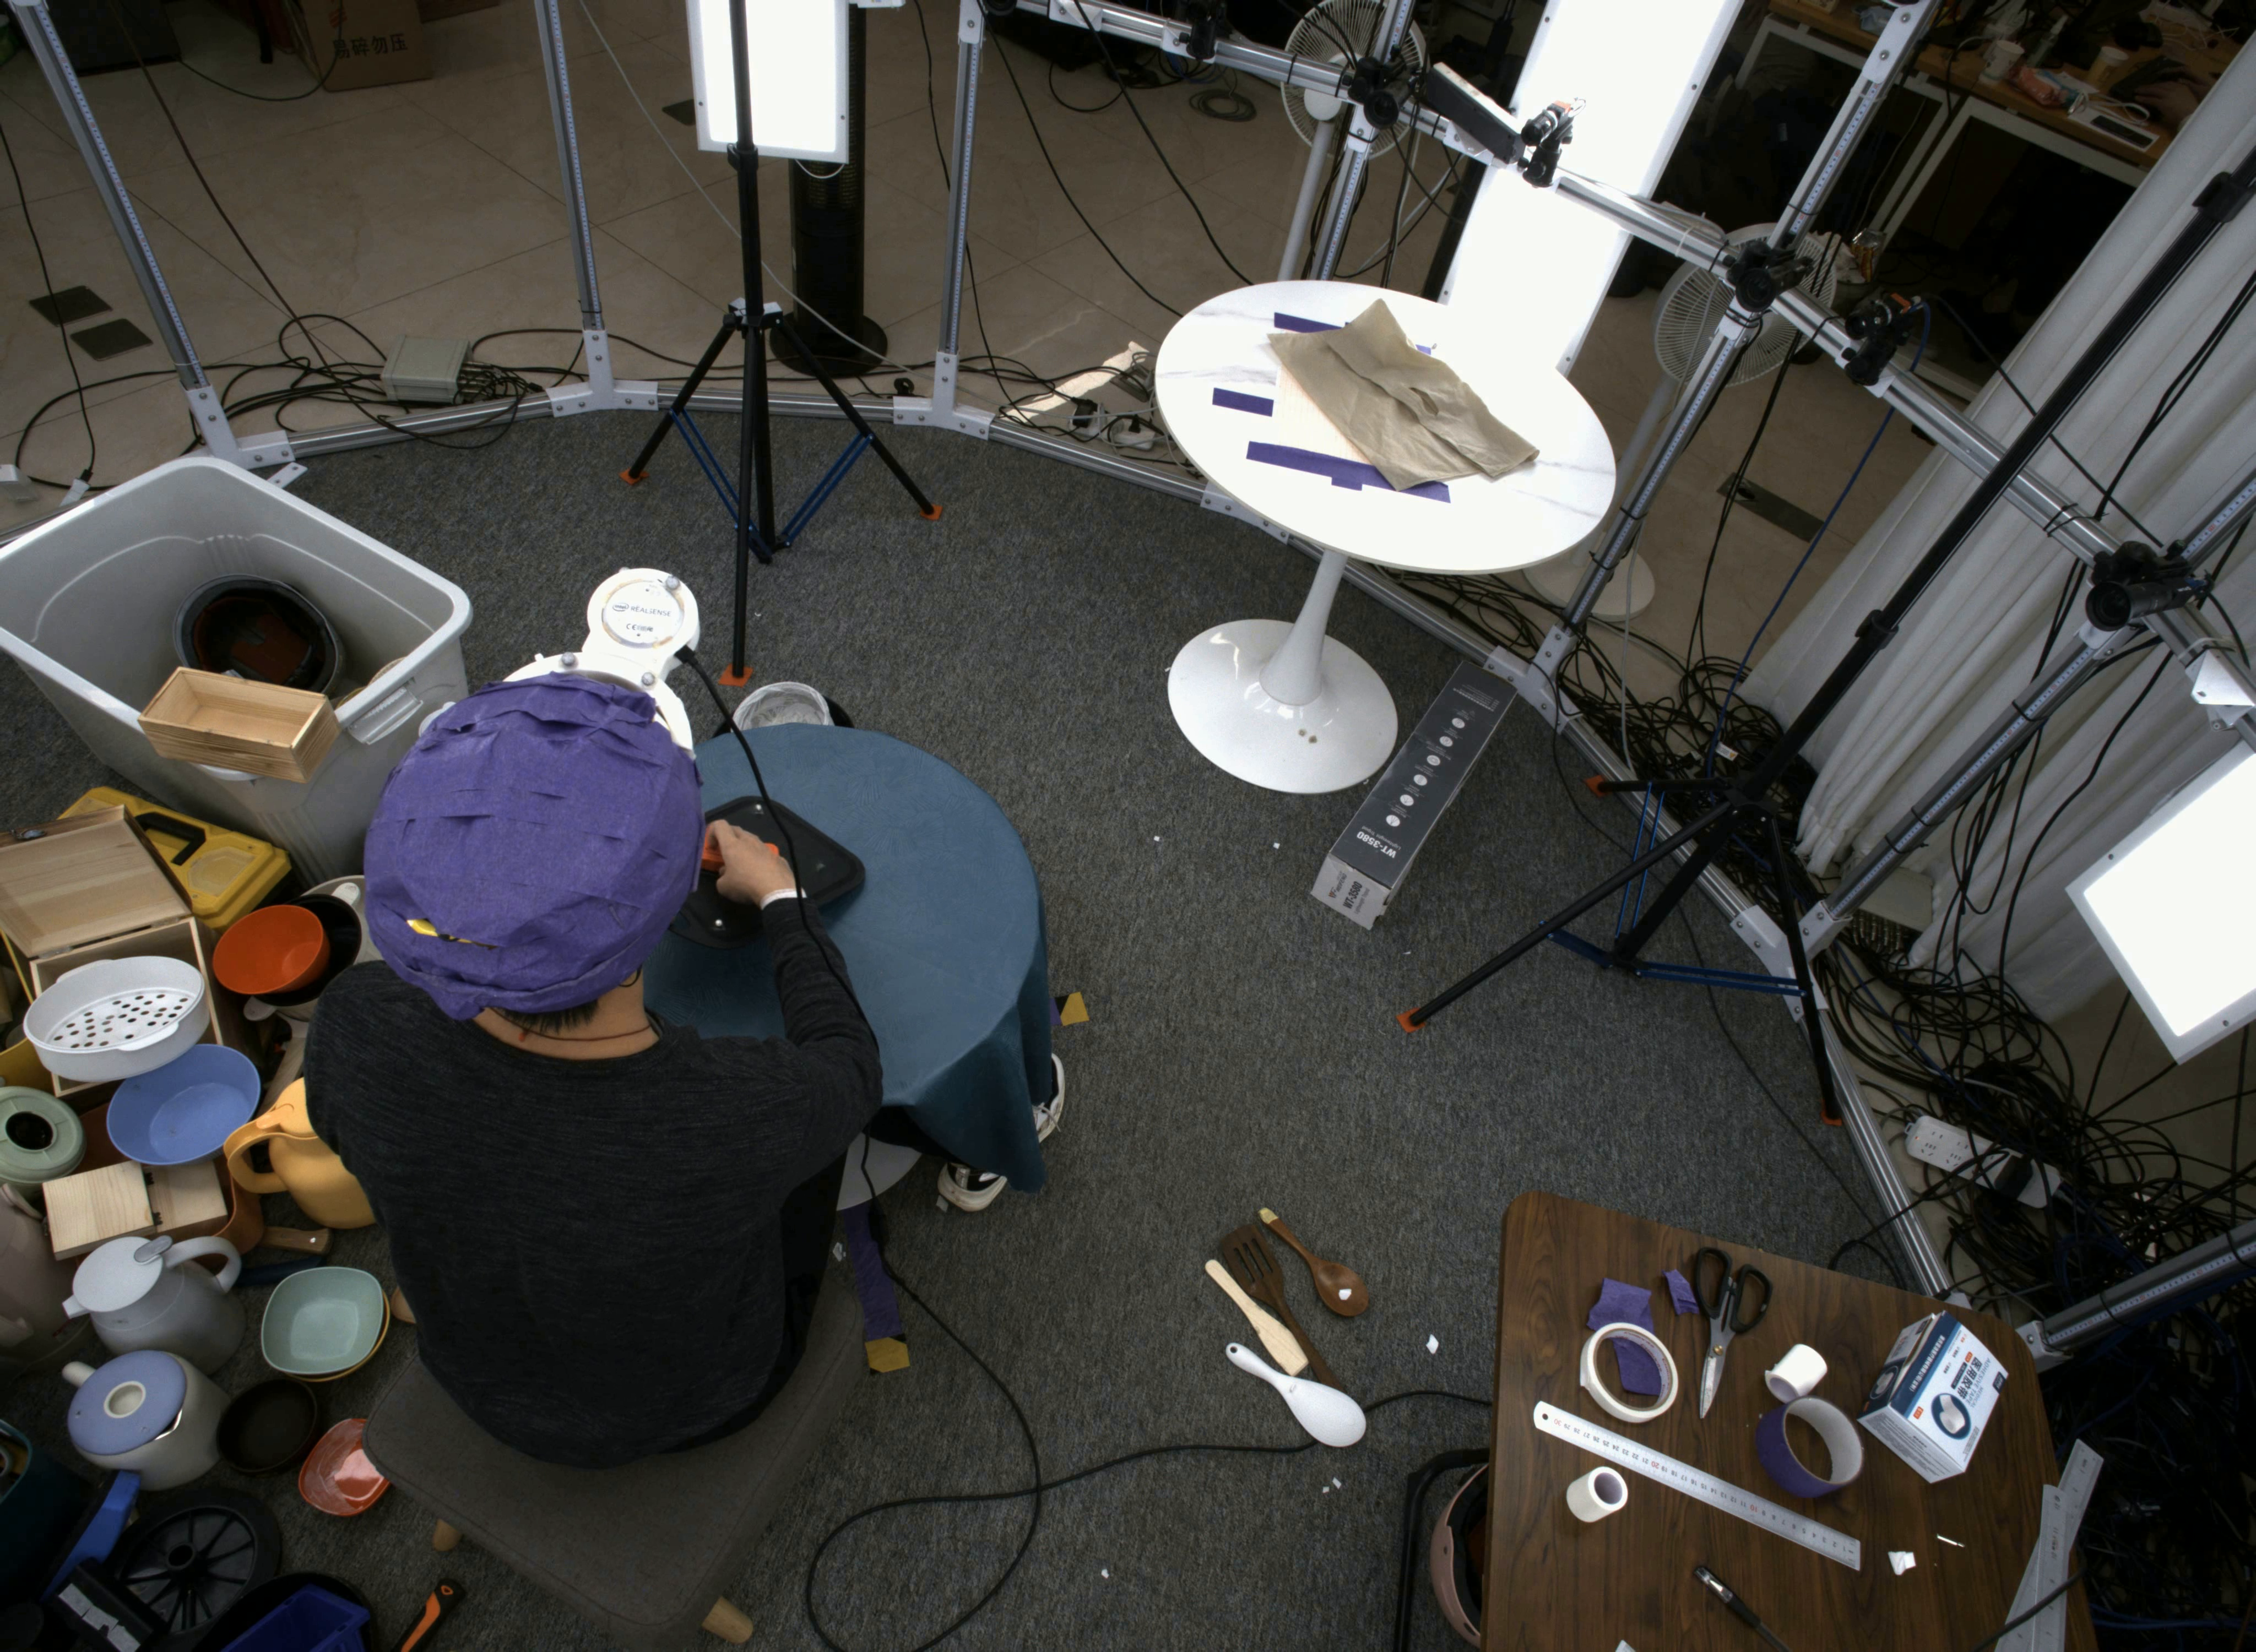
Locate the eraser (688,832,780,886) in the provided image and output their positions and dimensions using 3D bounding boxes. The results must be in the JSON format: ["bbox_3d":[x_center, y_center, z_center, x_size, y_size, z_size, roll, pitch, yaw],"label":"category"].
[{"bbox_3d":[-0.481,0.038,1.578,0.110,0.023,0.057,12,33,-29],"label":"eraser"}]

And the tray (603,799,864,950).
[{"bbox_3d":[-0.479,0.051,1.577,0.207,0.010,0.327,34,28,13],"label":"tray"}]
